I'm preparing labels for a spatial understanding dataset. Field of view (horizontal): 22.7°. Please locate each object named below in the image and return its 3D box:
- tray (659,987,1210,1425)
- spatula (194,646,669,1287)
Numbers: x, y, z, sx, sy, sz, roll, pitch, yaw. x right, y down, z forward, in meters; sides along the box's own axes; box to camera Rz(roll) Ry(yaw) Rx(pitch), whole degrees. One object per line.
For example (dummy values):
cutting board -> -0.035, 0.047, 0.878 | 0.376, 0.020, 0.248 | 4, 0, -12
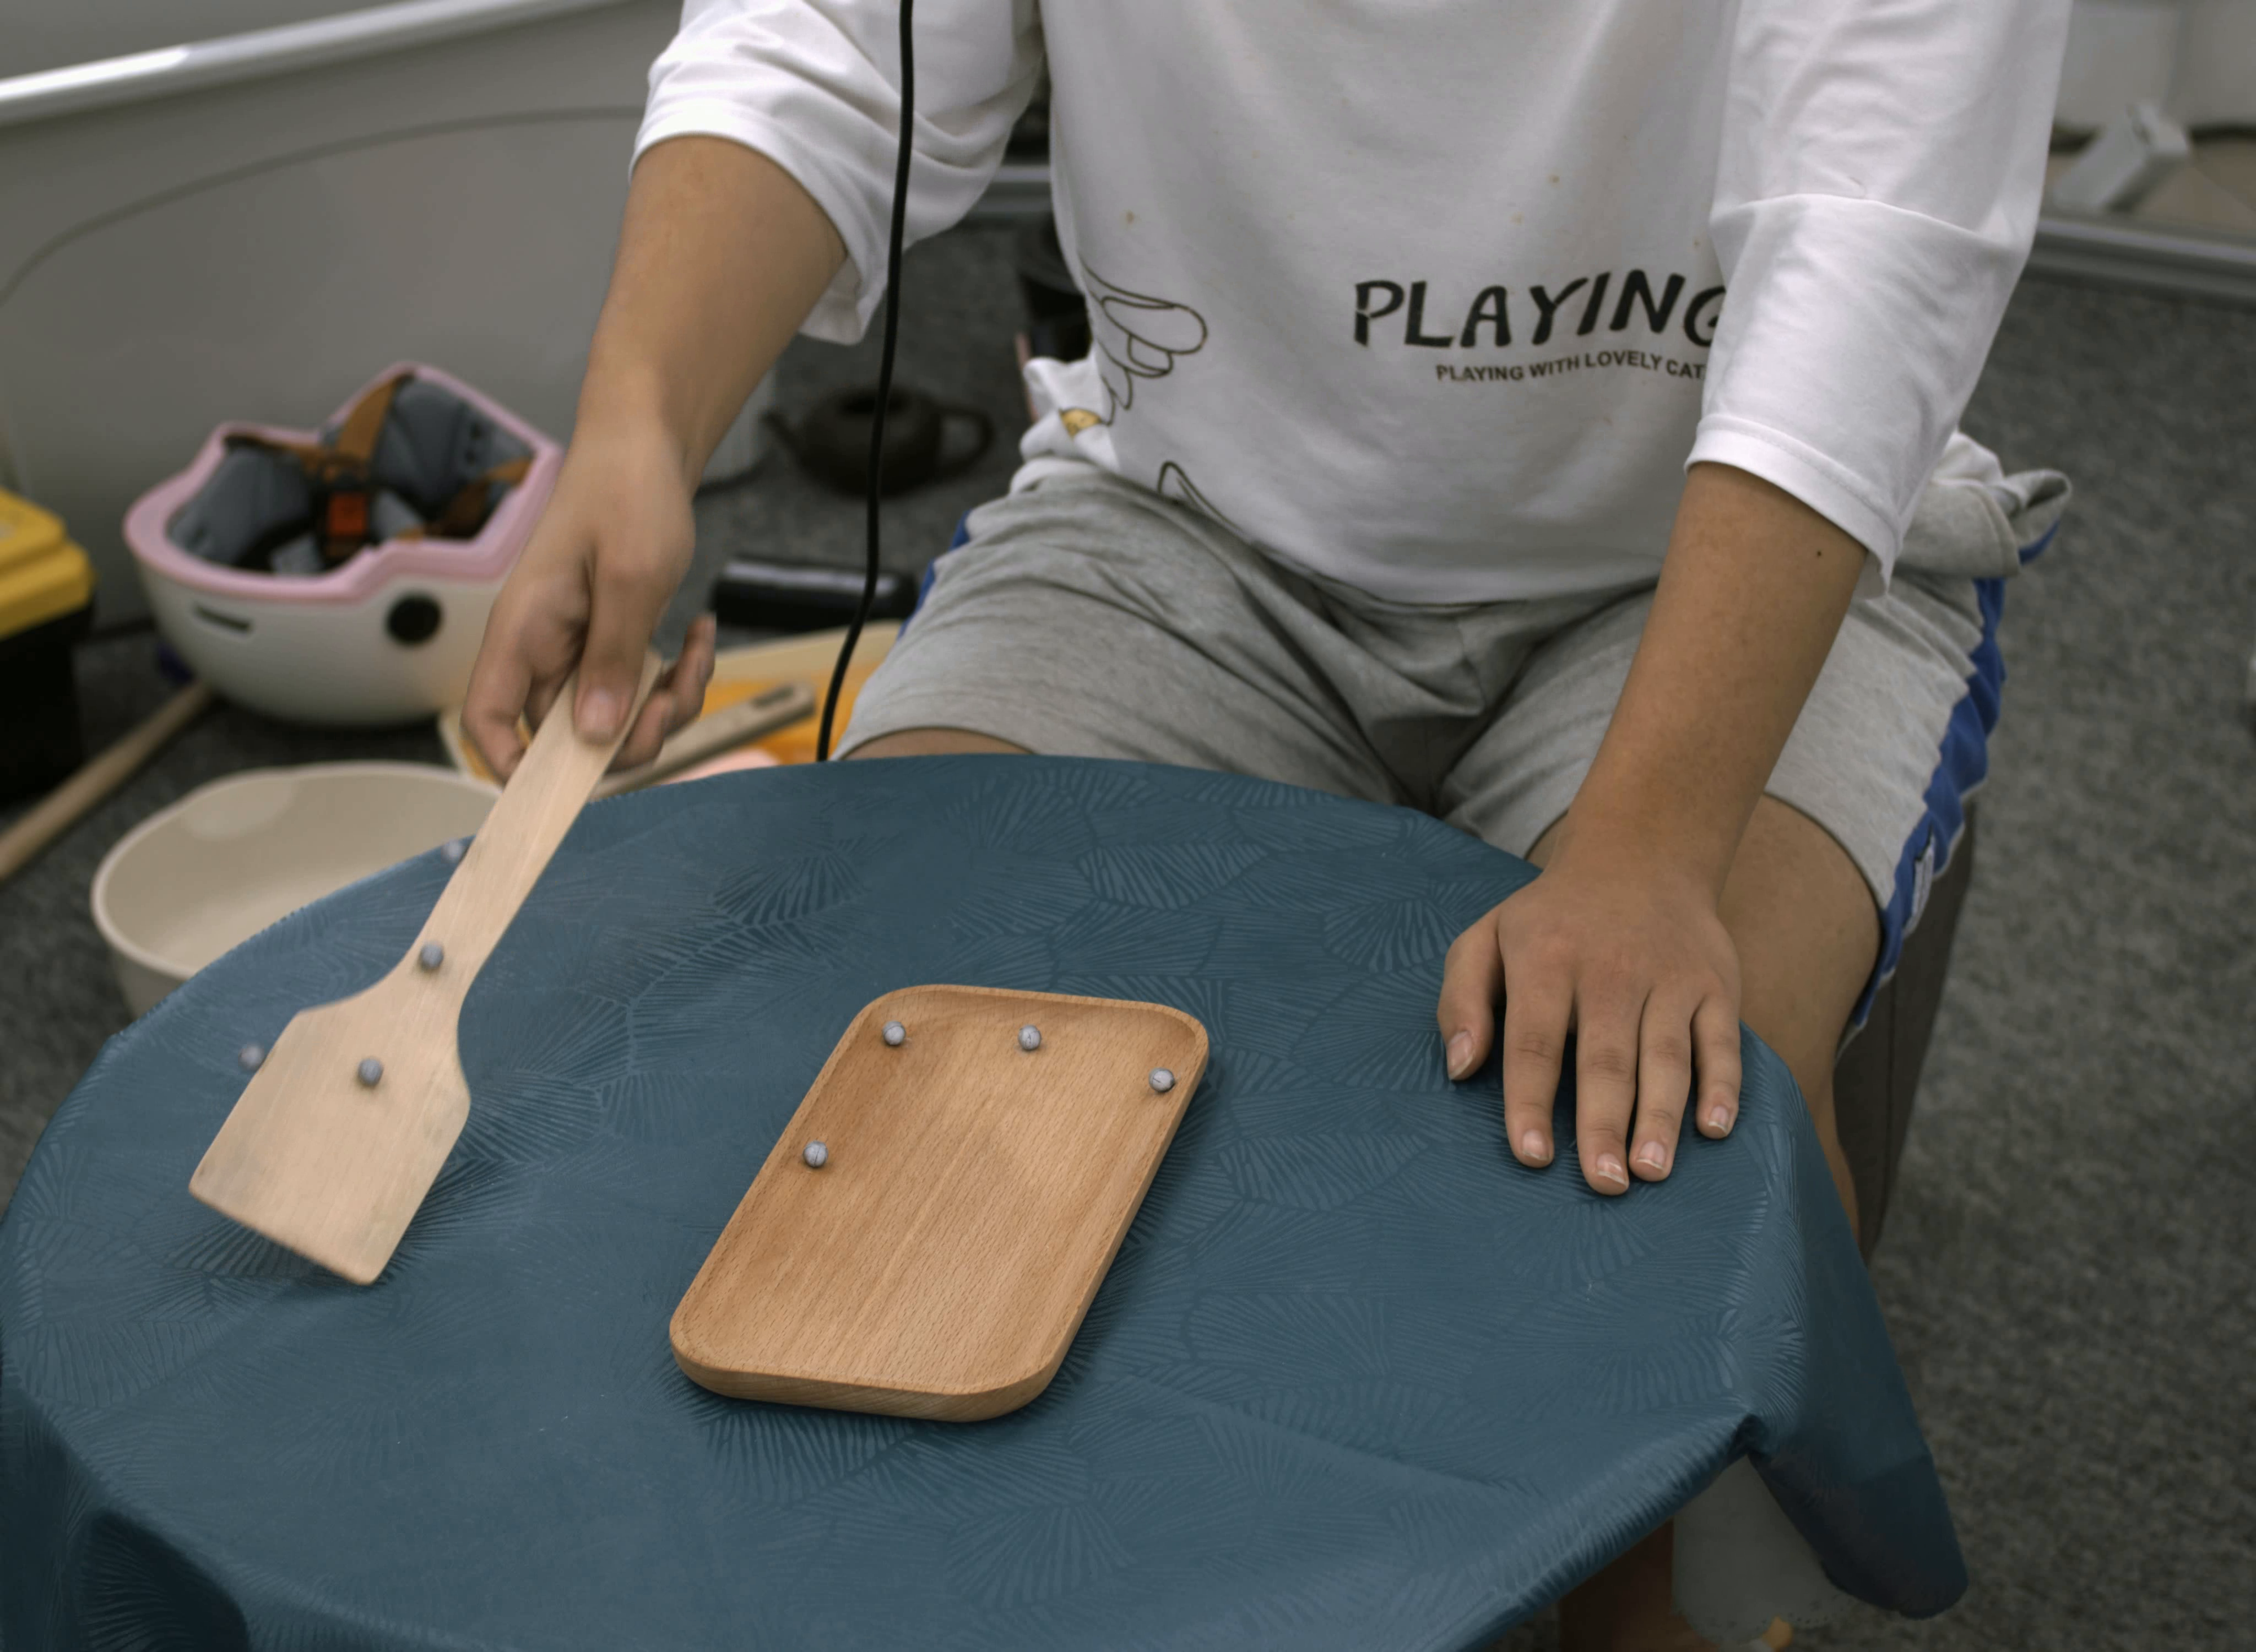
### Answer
tray -> -0.060, 0.122, 1.851 | 0.129, 0.022, 0.255 | 3, 28, 16
spatula -> -0.227, 0.038, 1.924 | 0.072, 0.010, 0.299 | 27, 49, 0
